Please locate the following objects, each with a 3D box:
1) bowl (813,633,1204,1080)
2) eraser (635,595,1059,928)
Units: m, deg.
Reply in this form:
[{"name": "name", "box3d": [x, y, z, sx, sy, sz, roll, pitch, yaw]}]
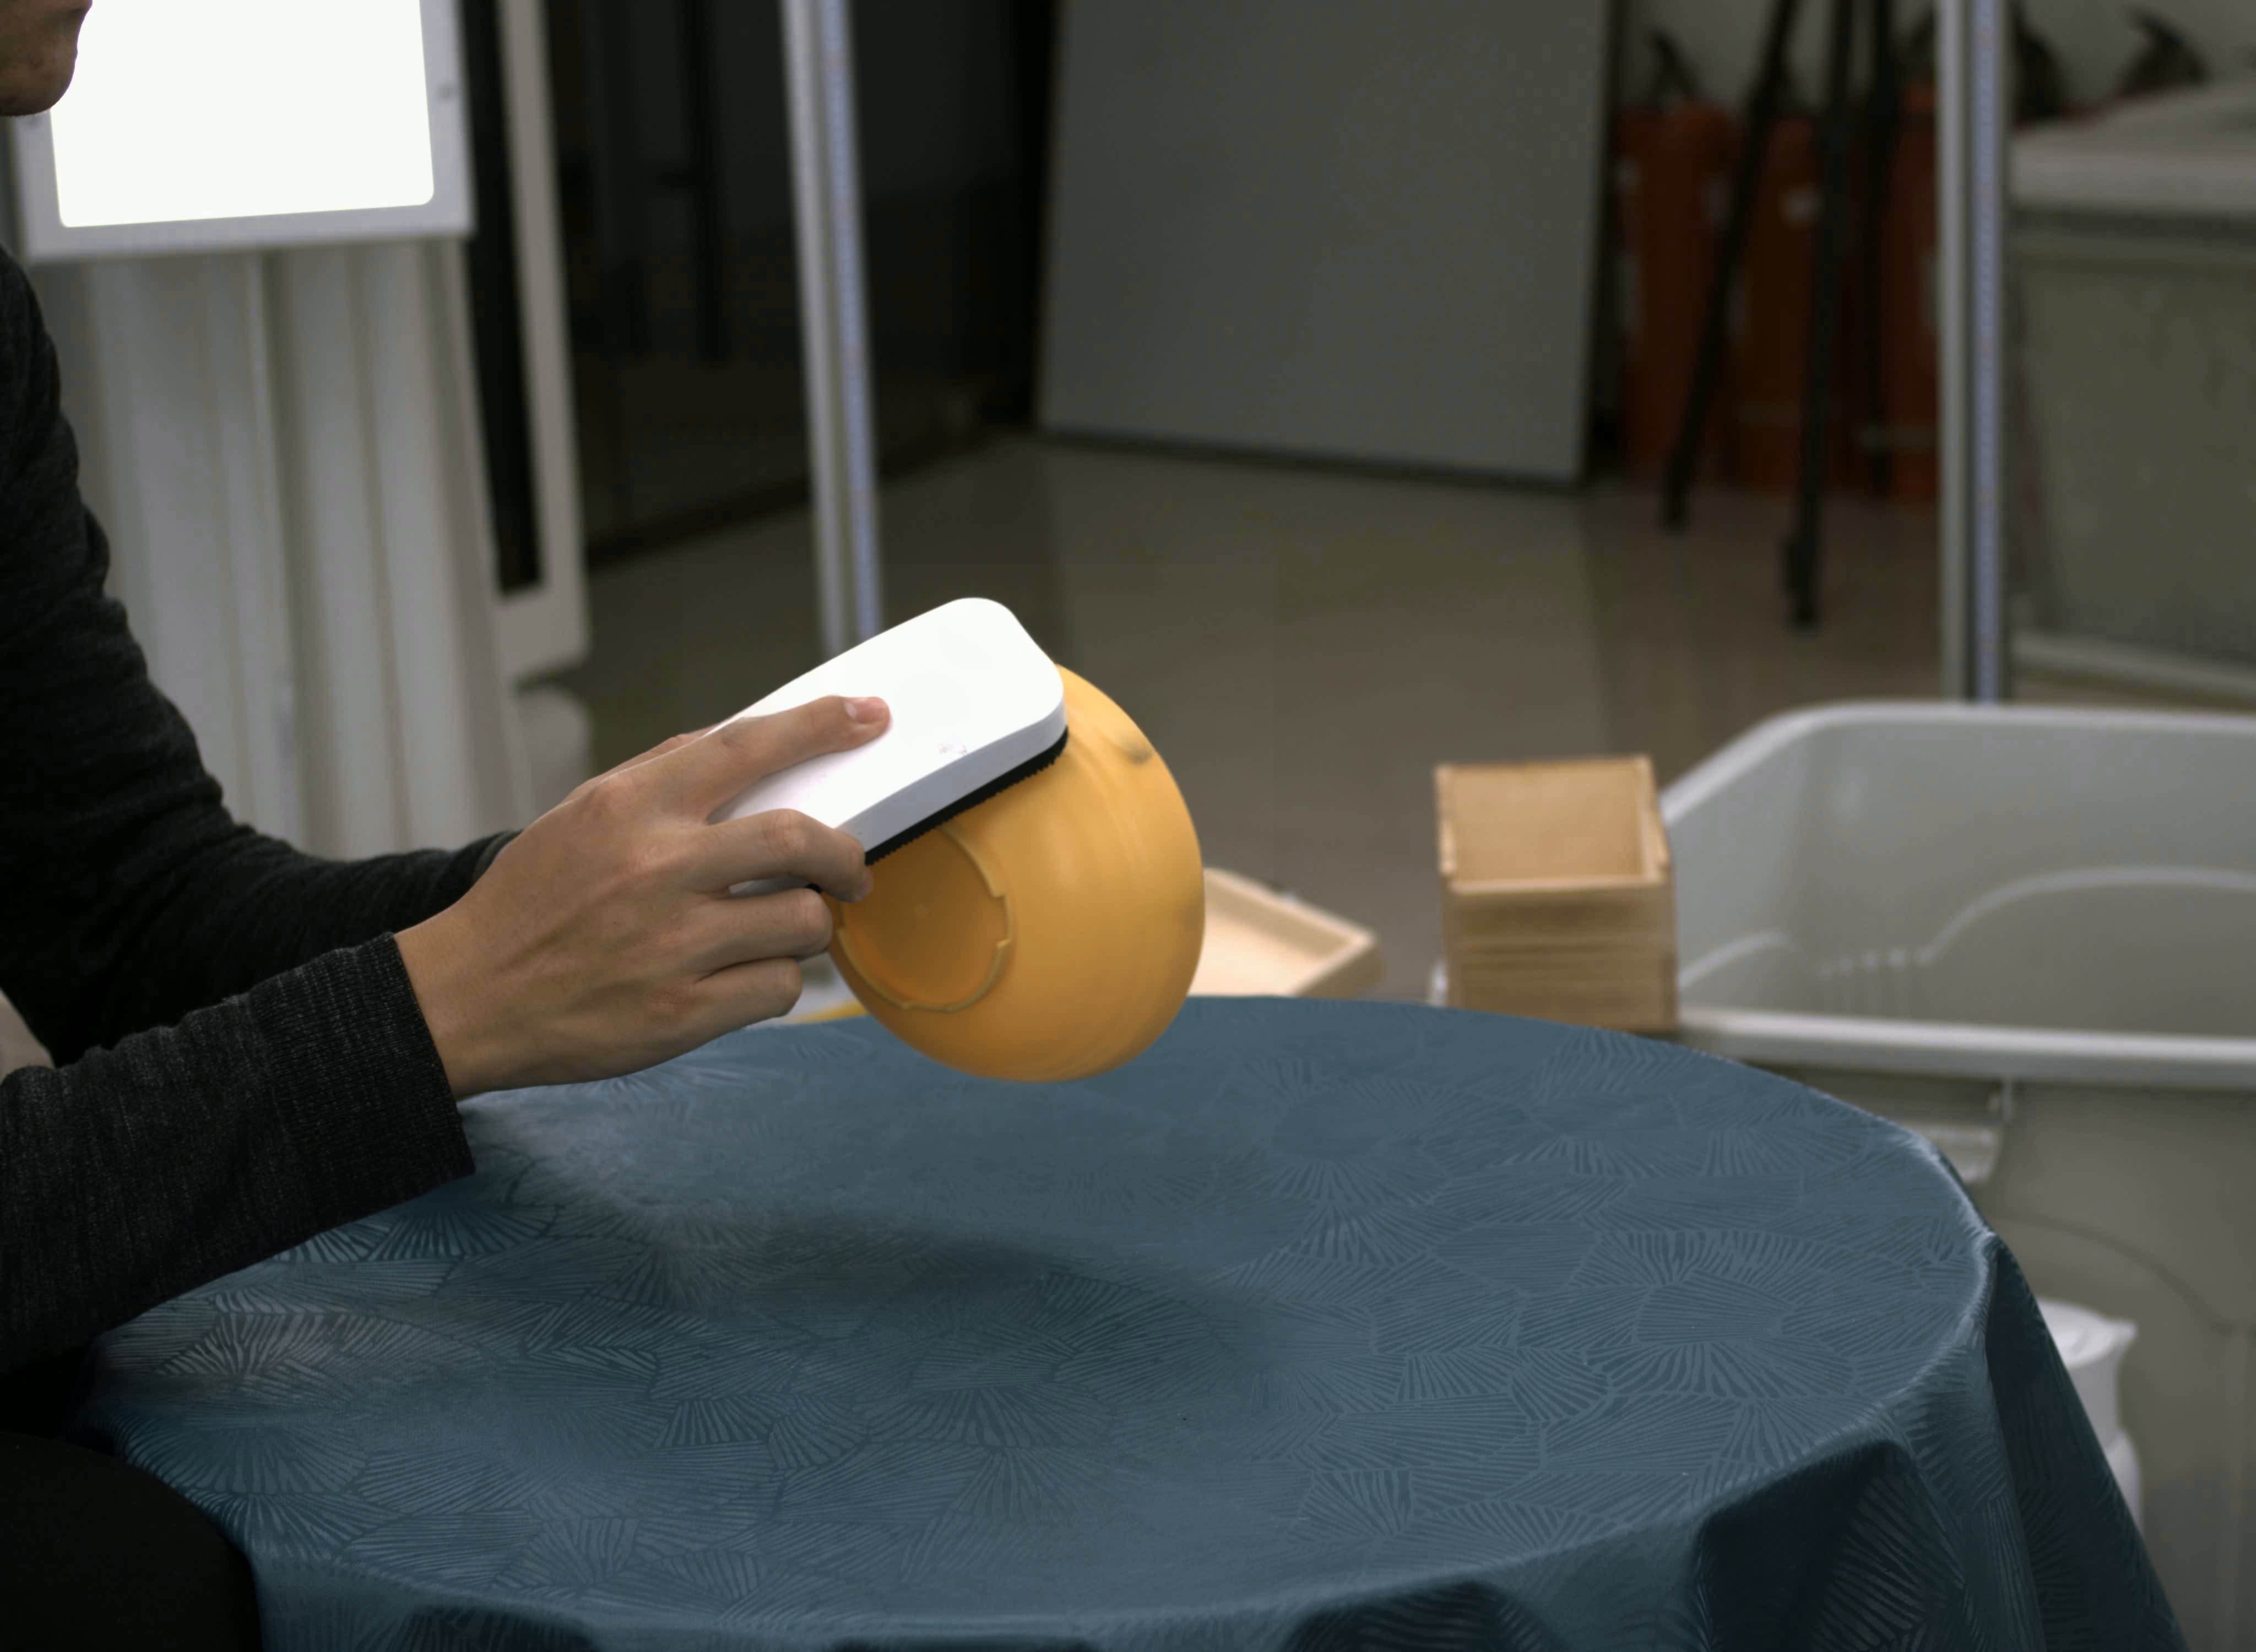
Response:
[{"name": "bowl", "box3d": [-0.050, 0.017, 1.697, 0.146, 0.147, 0.059, 6, 17, 34]}, {"name": "eraser", "box3d": [-0.086, -0.022, 1.654, 0.130, 0.034, 0.064, -29, 48, -8]}]
